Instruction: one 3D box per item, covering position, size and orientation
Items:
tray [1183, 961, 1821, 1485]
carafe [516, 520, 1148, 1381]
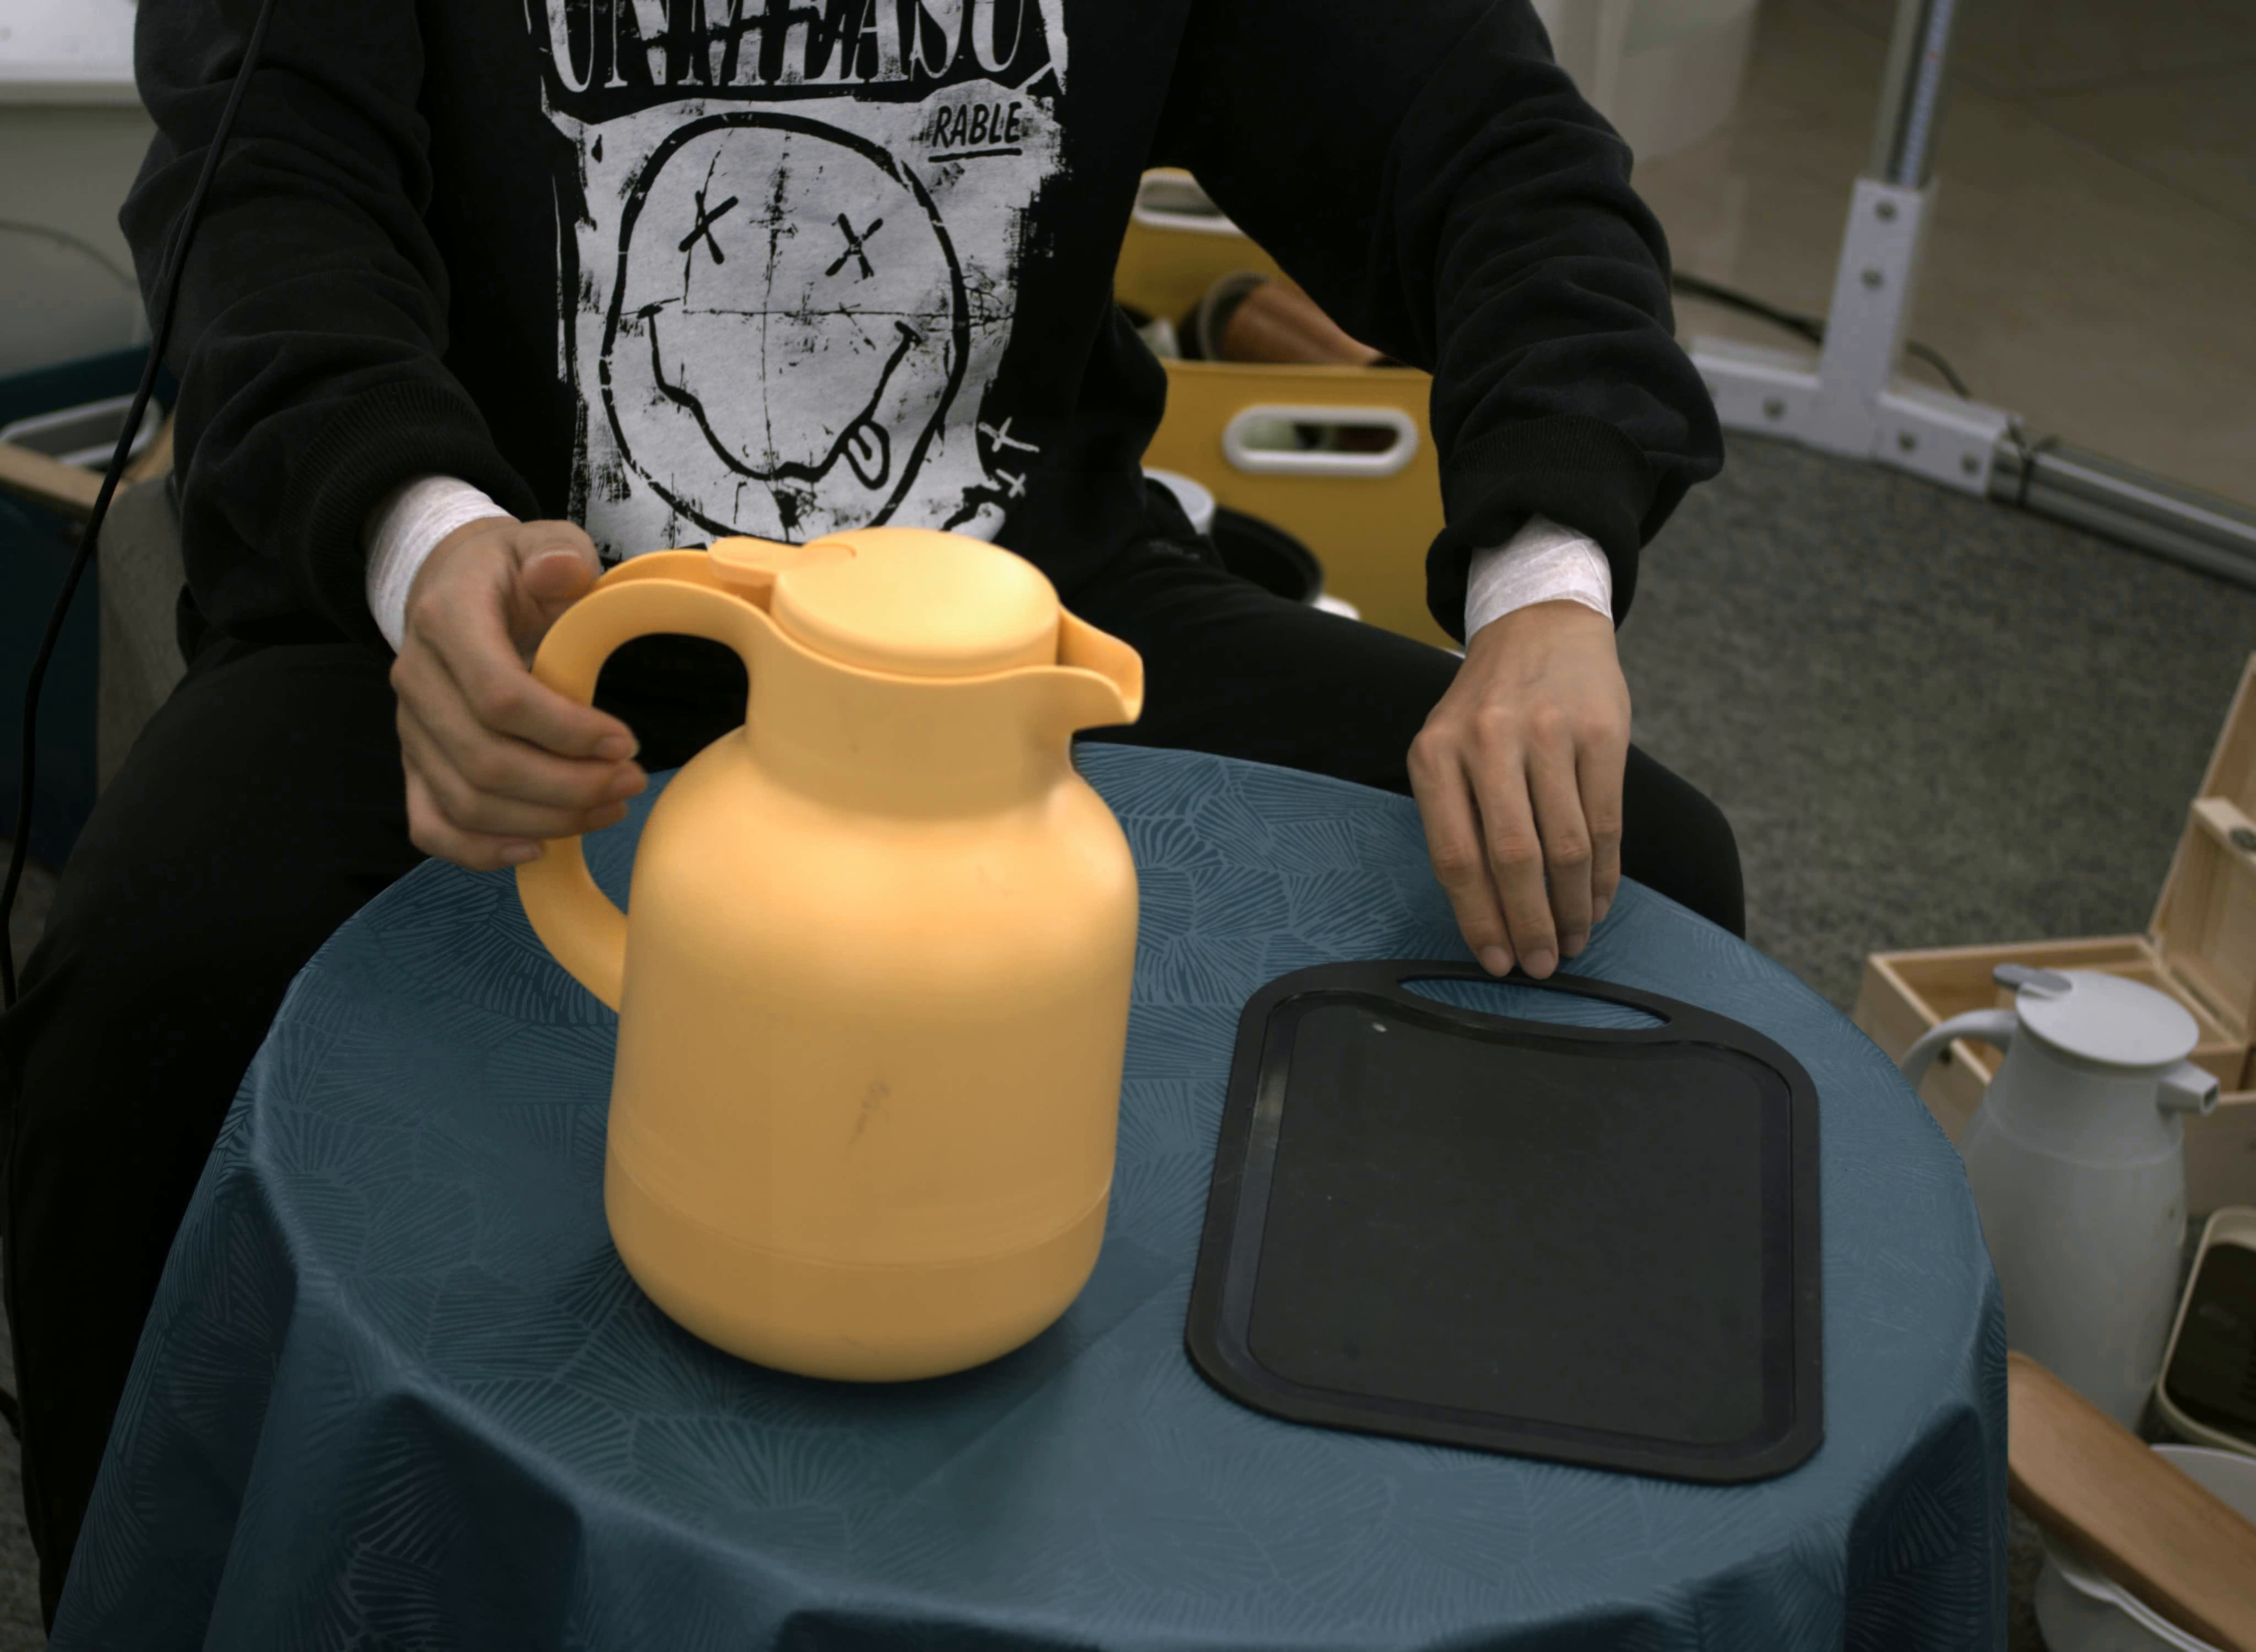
[{"bbox_3d":[0.133,0.125,1.826,0.211,0.010,0.327,9,27,3],"label":"tray"},{"bbox_3d":[-0.097,0.029,1.681,0.202,0.260,0.163,15,25,13],"label":"carafe"}]
